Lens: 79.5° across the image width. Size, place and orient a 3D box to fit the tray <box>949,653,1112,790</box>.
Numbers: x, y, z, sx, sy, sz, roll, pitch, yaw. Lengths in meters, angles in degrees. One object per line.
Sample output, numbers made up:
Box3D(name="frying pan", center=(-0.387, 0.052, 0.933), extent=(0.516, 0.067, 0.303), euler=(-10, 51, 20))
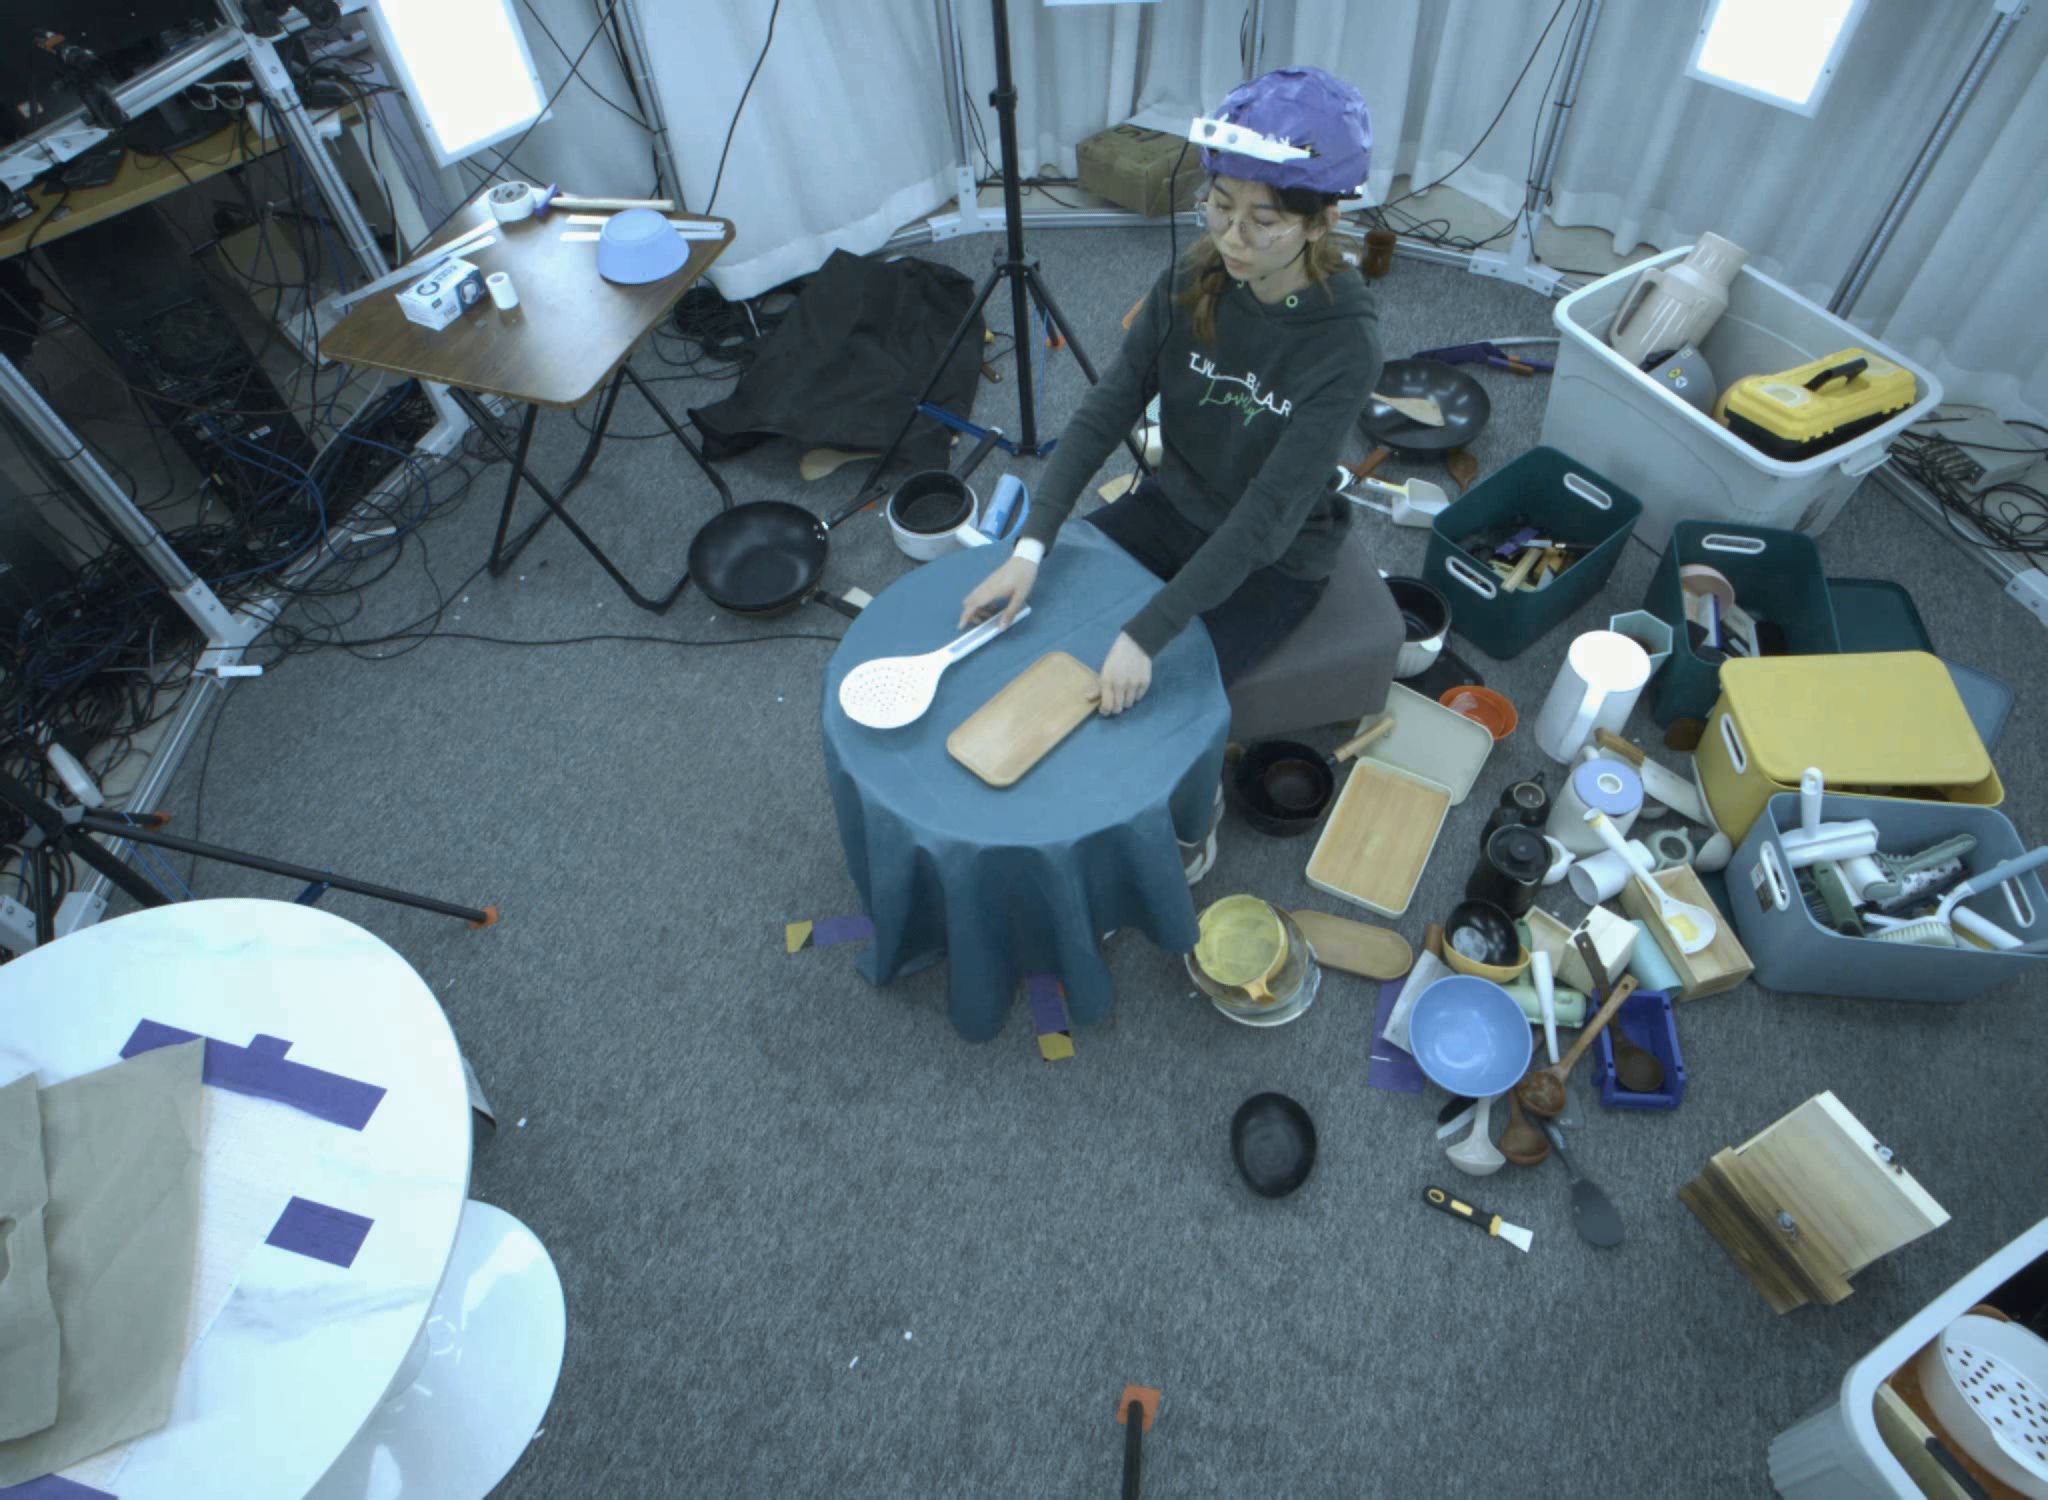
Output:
Box3D(name="tray", center=(0.011, -0.044, 1.818), extent=(0.128, 0.023, 0.252), euler=(38, 63, 22))

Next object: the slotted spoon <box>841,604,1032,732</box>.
Box3D(name="slotted spoon", center=(-0.123, -0.133, 1.867), extent=(0.352, 0.046, 0.134), euler=(-38, 64, -23))
